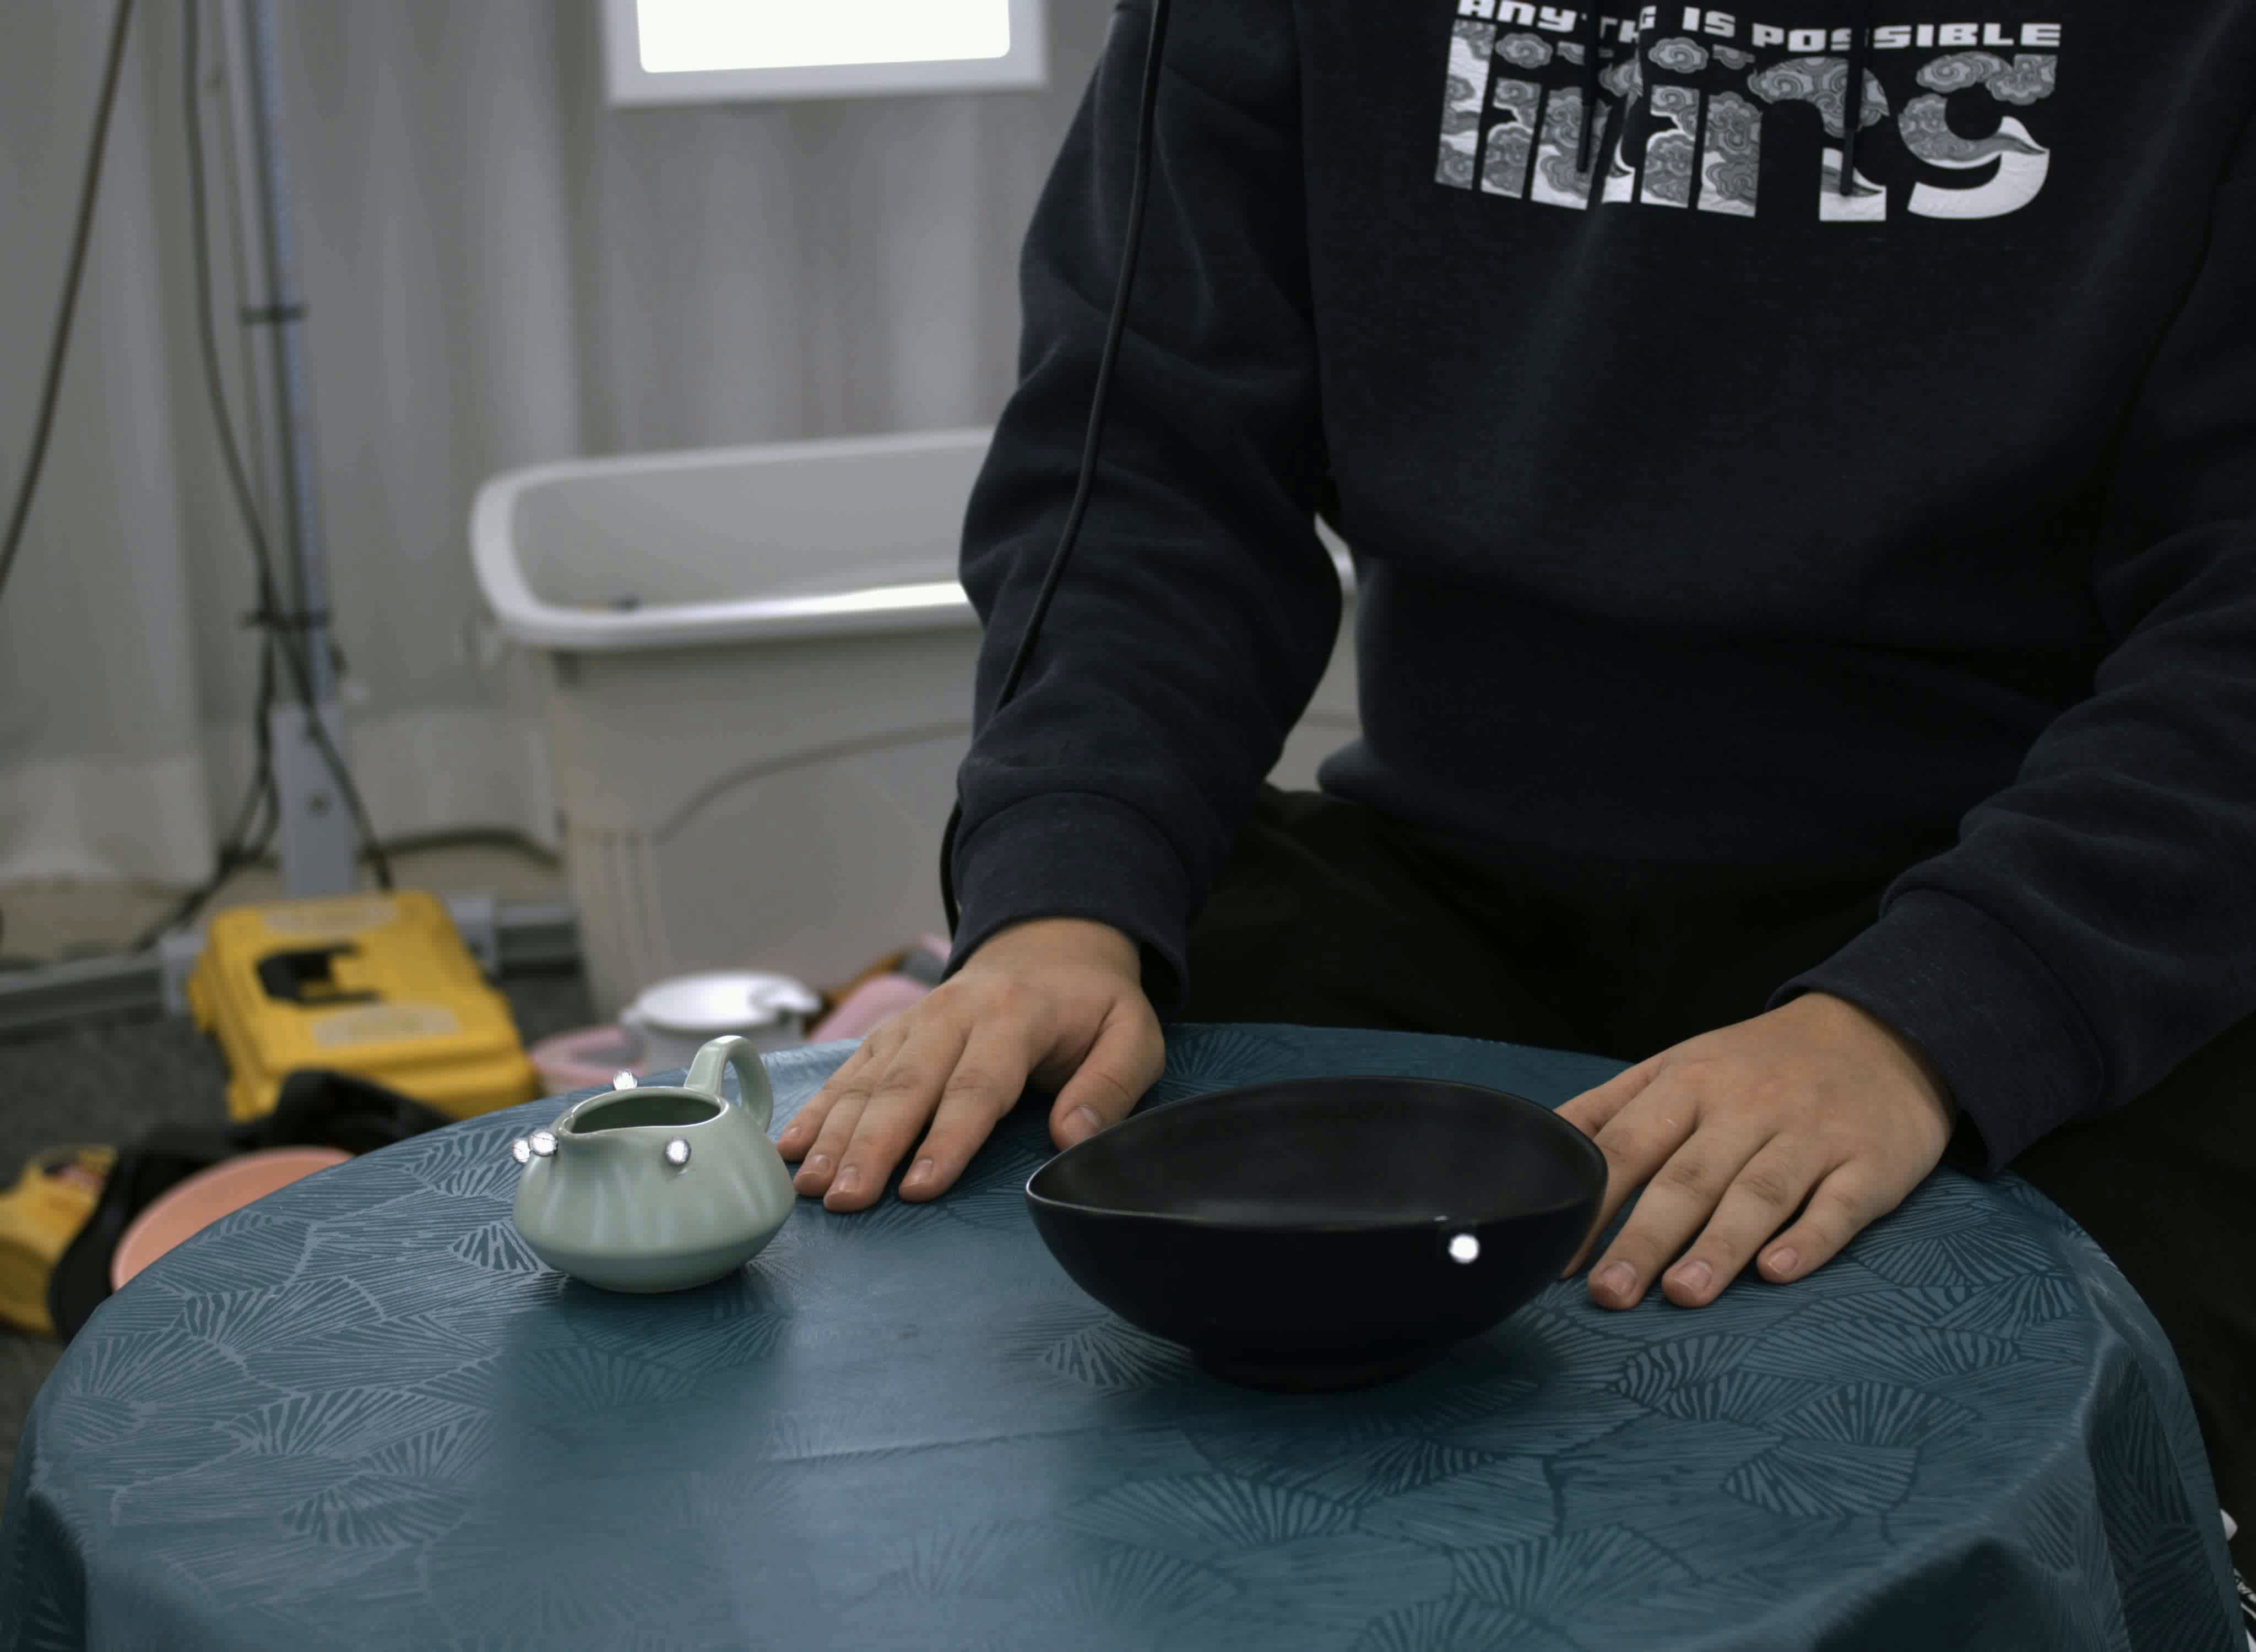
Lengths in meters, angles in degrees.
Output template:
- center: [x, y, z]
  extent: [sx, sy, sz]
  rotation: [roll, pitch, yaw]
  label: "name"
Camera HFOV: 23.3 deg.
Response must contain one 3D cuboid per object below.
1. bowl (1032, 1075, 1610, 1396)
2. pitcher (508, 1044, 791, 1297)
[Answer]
- center: [0.054, 0.122, 1.560]
  extent: [0.170, 0.066, 0.138]
  rotation: [1, 14, 17]
  label: "bowl"
- center: [-0.140, 0.106, 1.670]
  extent: [0.086, 0.060, 0.108]
  rotation: [5, 15, 25]
  label: "pitcher"
